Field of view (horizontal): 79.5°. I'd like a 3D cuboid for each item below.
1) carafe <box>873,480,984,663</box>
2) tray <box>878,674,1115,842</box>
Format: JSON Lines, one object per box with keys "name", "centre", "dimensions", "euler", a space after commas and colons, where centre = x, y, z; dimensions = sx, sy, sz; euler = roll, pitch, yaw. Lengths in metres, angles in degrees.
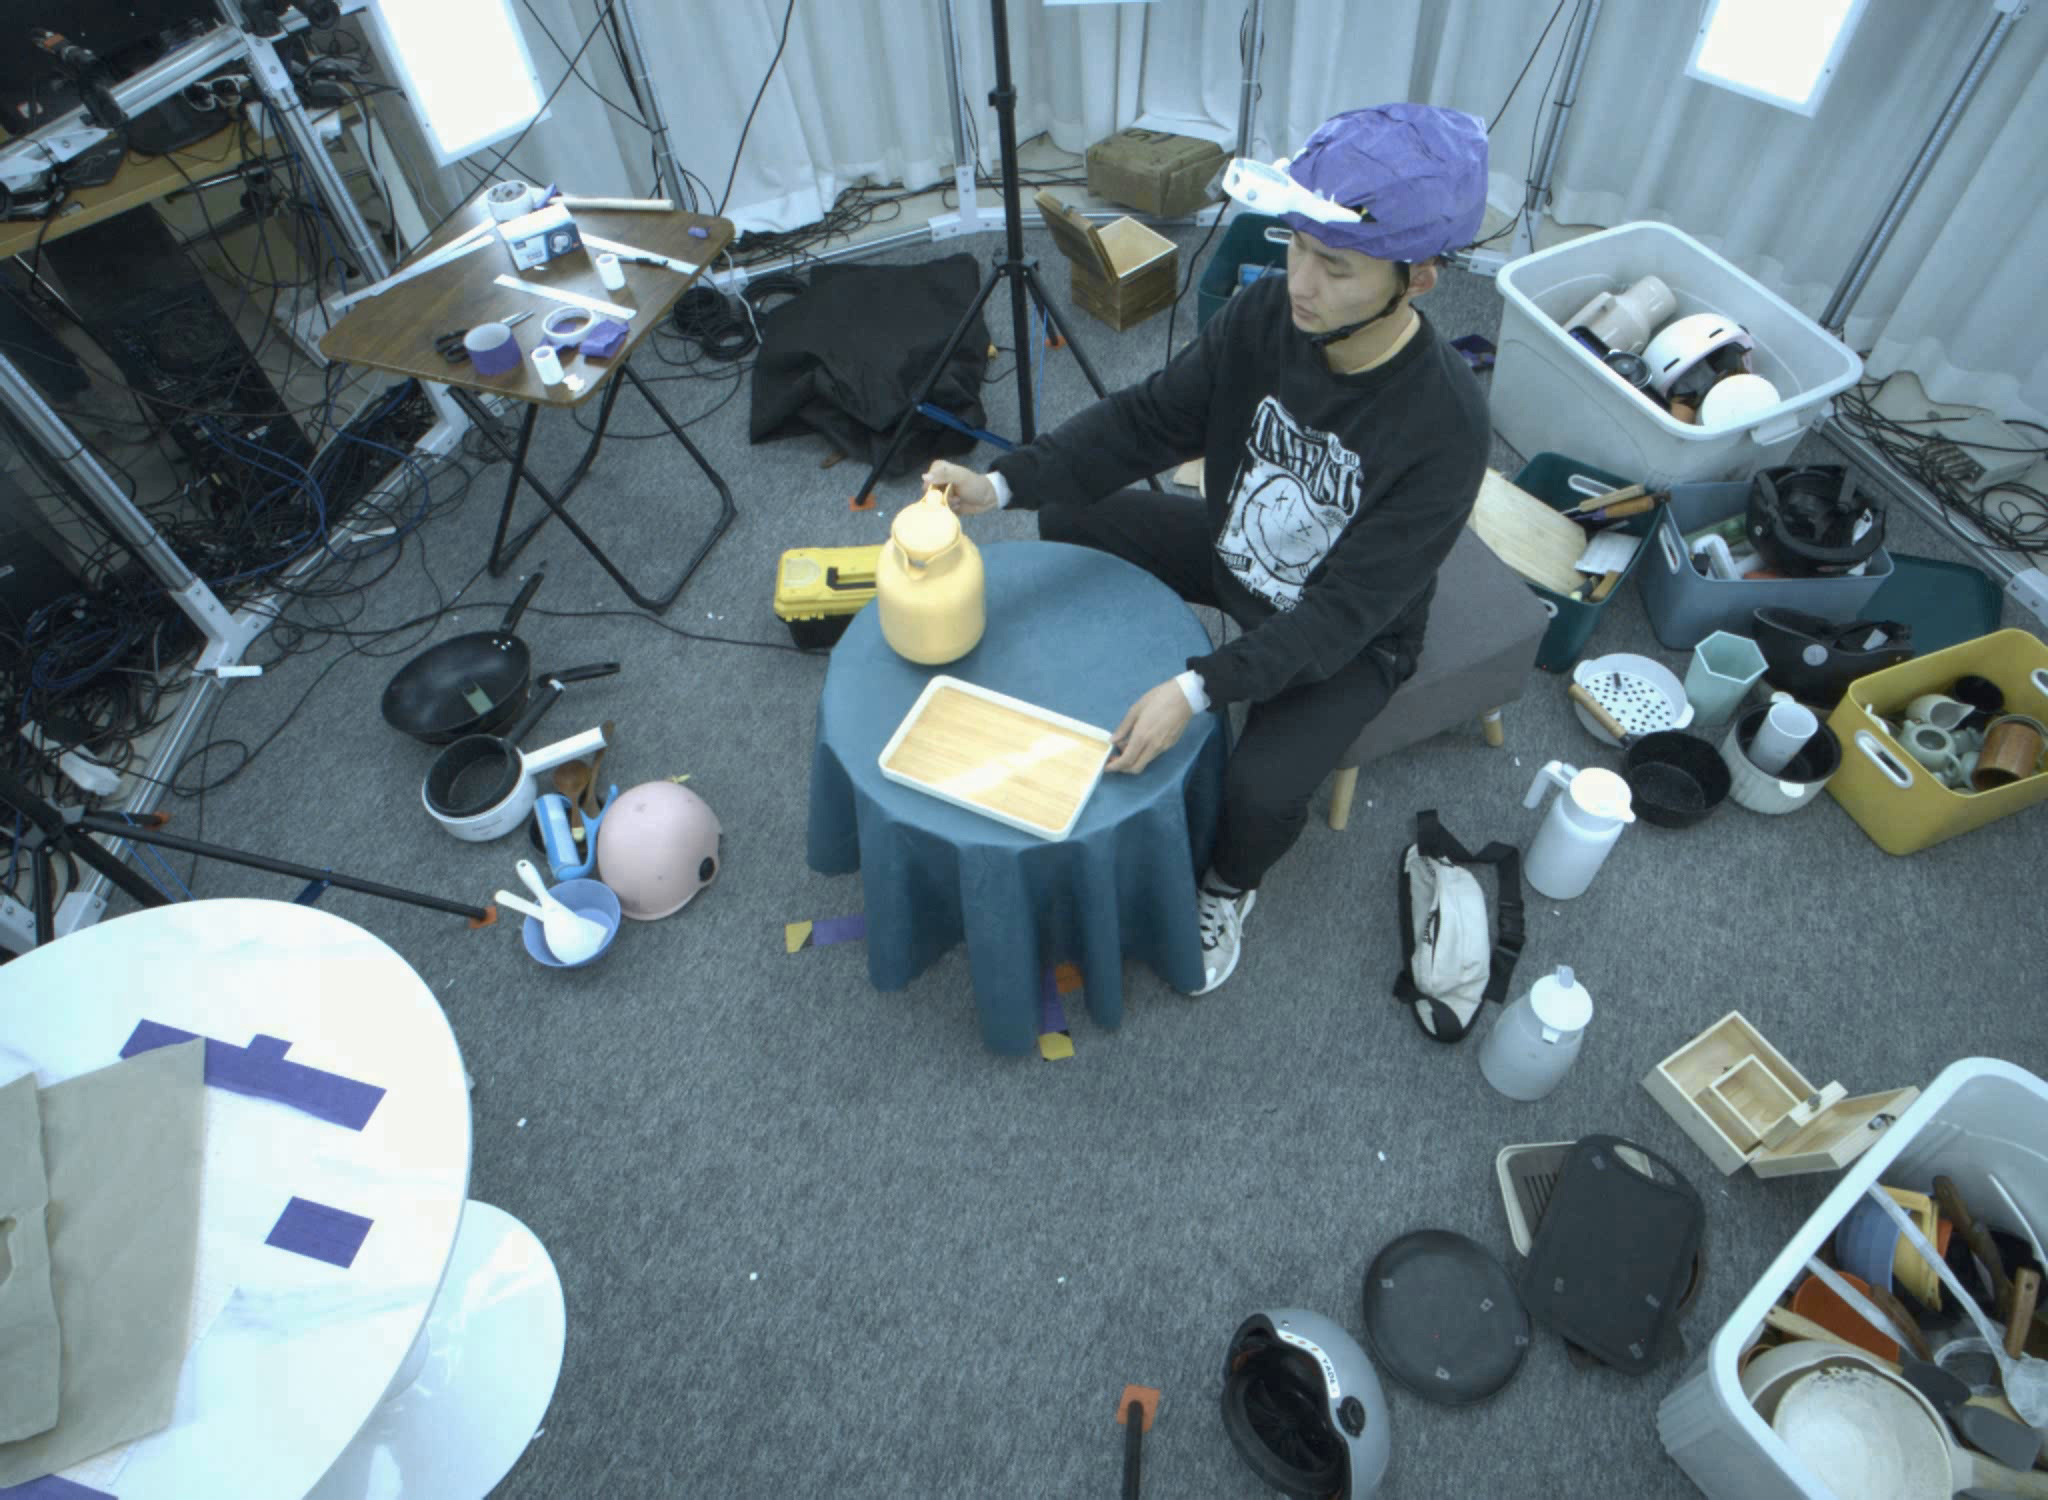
{"name": "carafe", "centre": [-0.135, -0.268, 1.801], "dimensions": [0.163, 0.262, 0.201], "euler": [13, 63, 2]}
{"name": "tray", "centre": [-0.039, 0.007, 1.763], "dimensions": [0.297, 0.028, 0.192], "euler": [20, 58, 15]}
